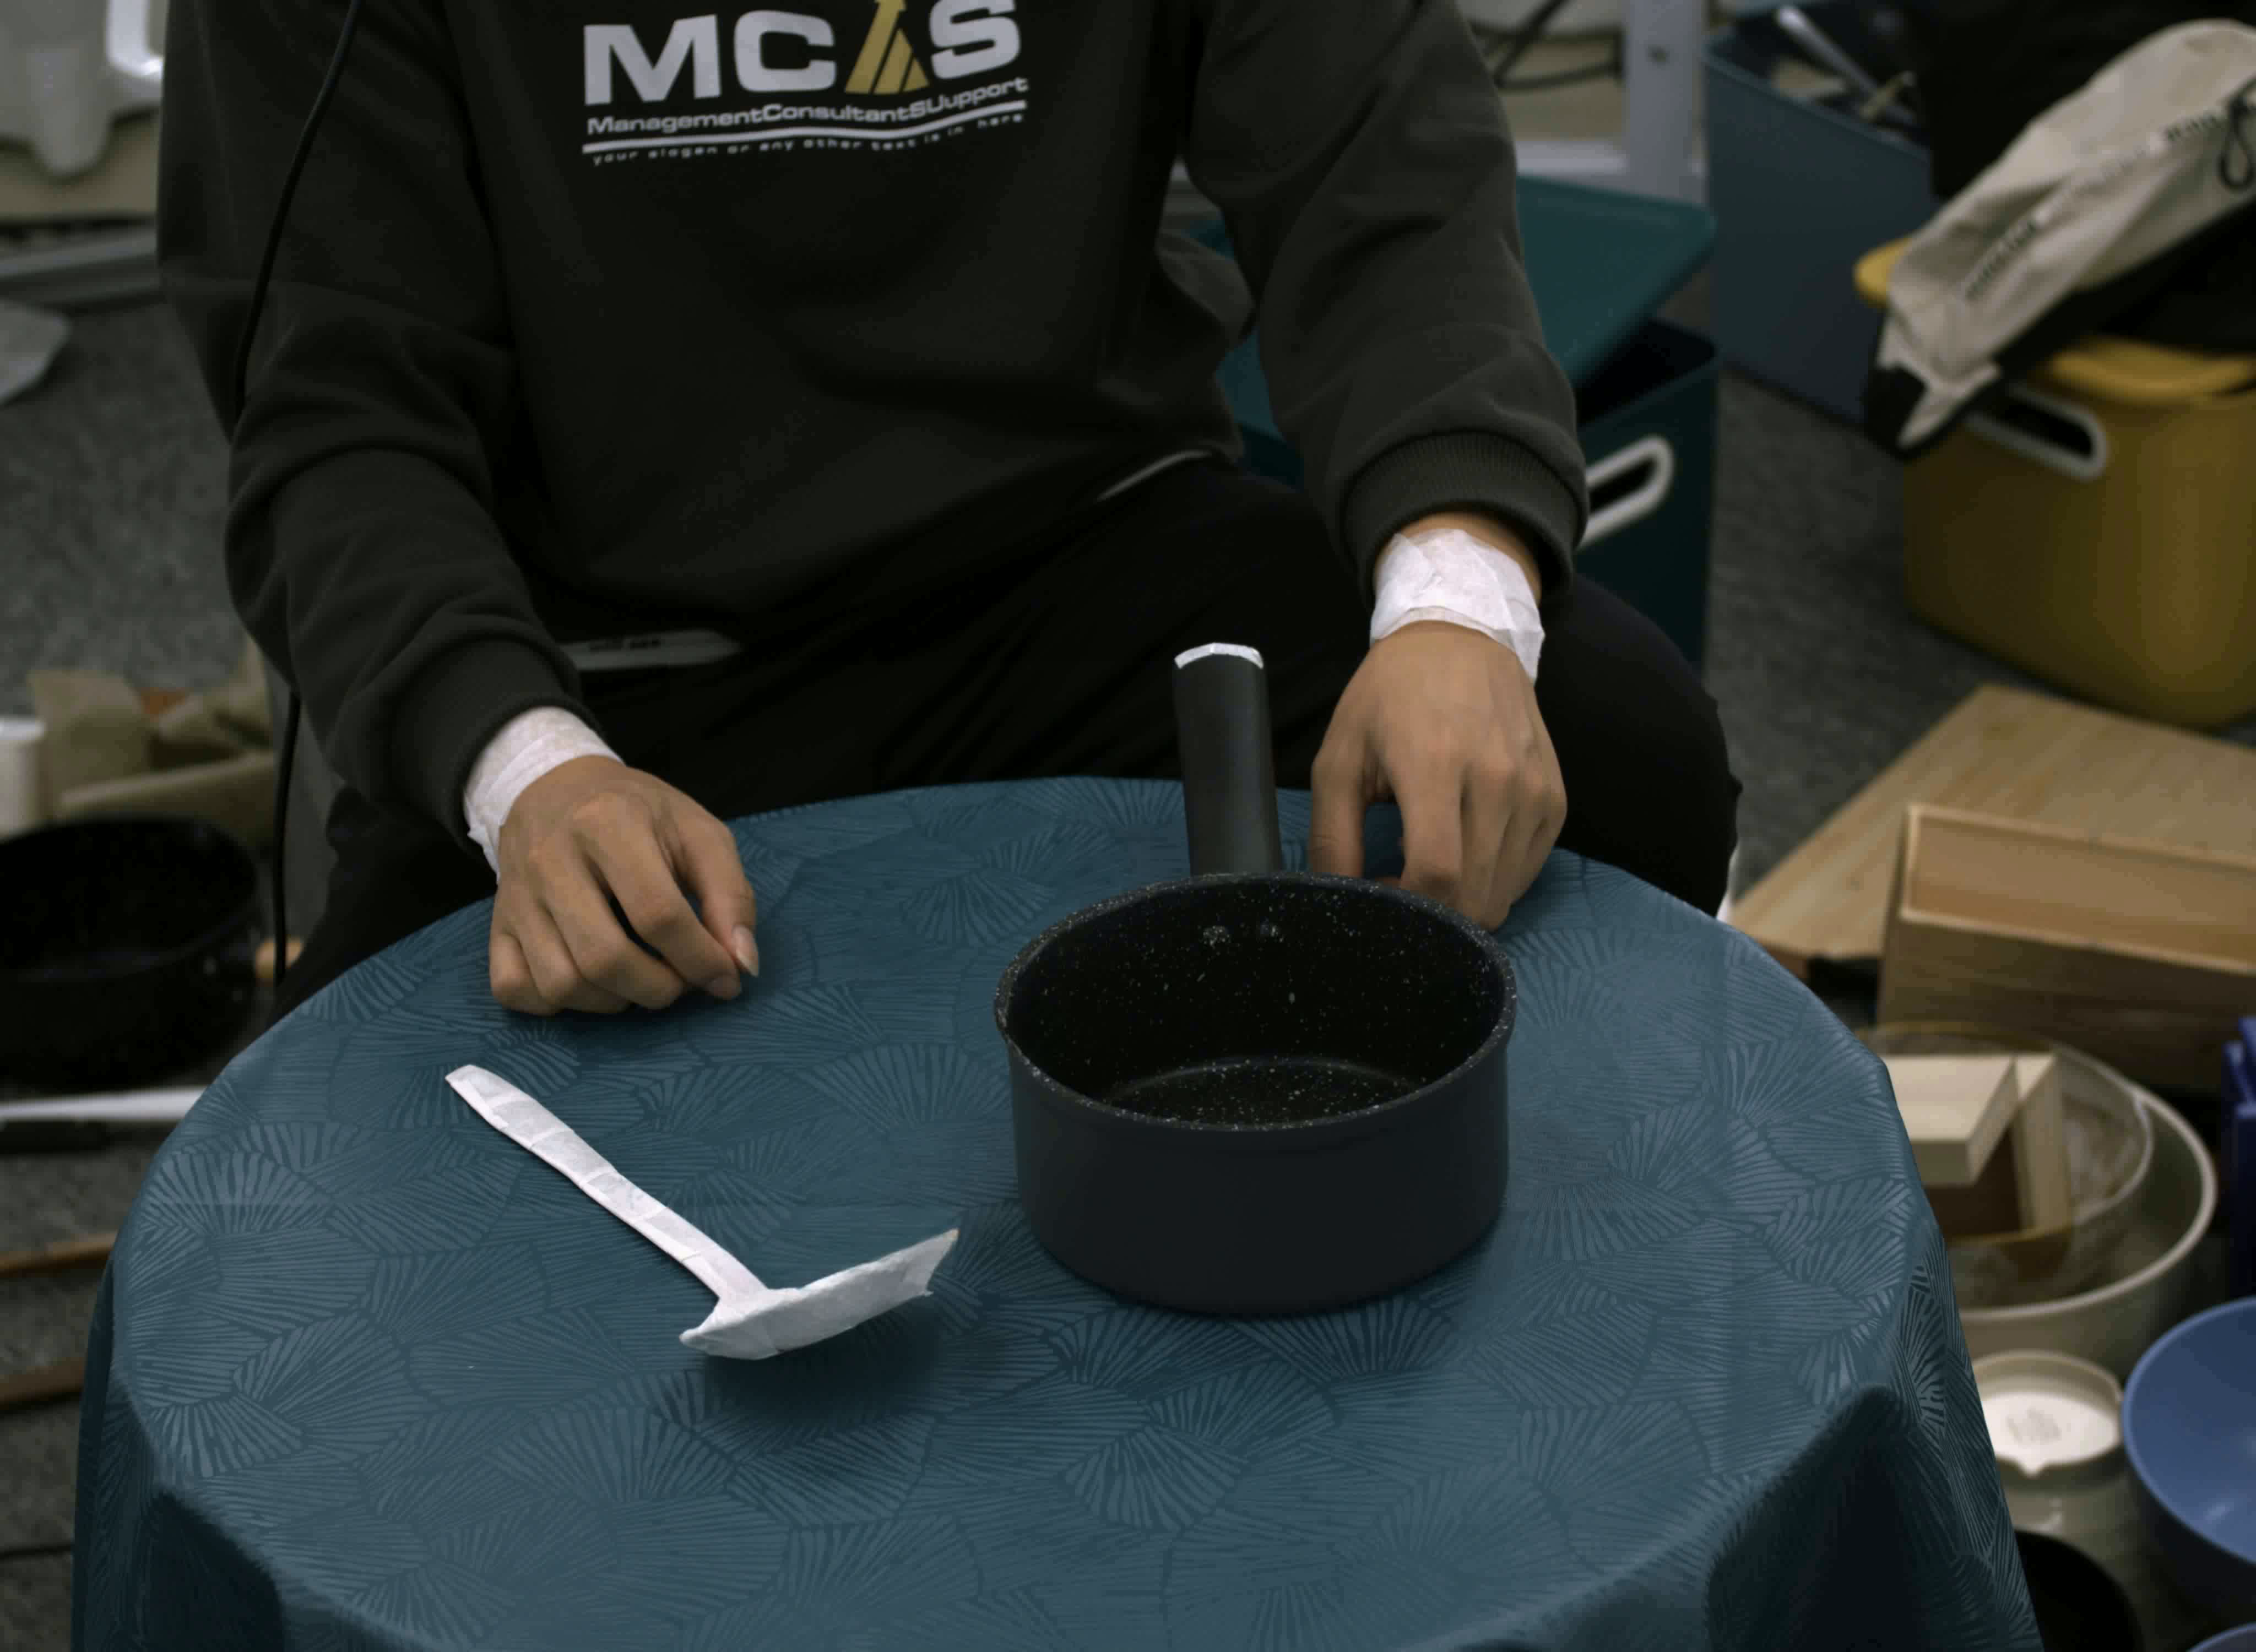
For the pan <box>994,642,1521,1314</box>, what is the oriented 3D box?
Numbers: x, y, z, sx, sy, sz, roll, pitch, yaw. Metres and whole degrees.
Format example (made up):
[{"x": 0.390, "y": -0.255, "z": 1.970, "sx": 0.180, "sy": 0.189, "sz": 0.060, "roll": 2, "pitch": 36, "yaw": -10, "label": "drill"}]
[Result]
[{"x": 0.044, "y": 0.048, "z": 1.911, "sx": 0.171, "sy": 0.085, "sz": 0.334, "roll": -1, "pitch": 28, "yaw": 1, "label": "pan"}]

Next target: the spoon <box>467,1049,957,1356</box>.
[{"x": -0.148, "y": 0.107, "z": 1.841, "sx": 0.101, "sy": 0.059, "sz": 0.278, "roll": -16, "pitch": 30, "yaw": -28, "label": "spoon"}]
